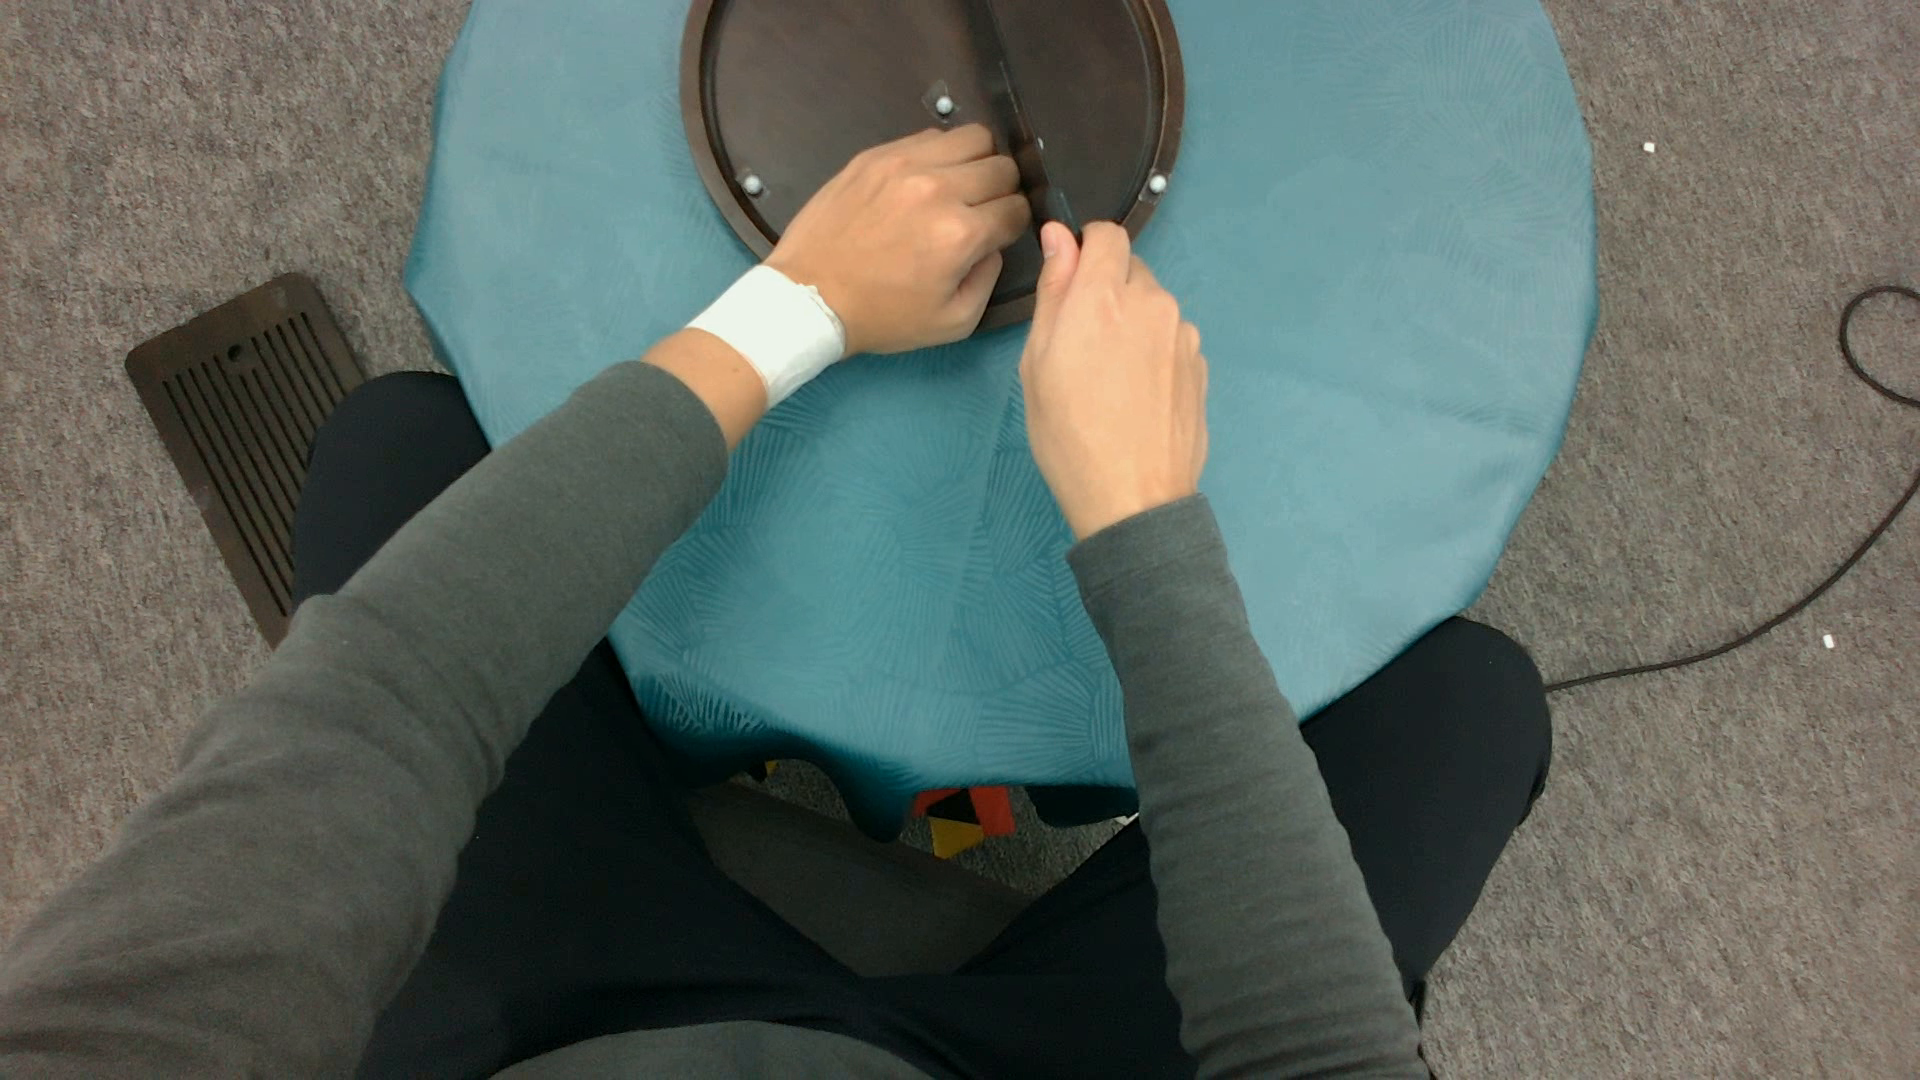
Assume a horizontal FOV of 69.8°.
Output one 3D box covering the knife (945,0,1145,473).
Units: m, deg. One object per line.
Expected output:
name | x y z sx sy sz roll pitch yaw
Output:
knife | 0.025 -0.174 0.631 0.021 0.081 0.302 -19 83 -5

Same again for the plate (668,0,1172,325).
plate | -0.019 -0.231 0.698 0.255 0.029 0.255 1 83 -7
